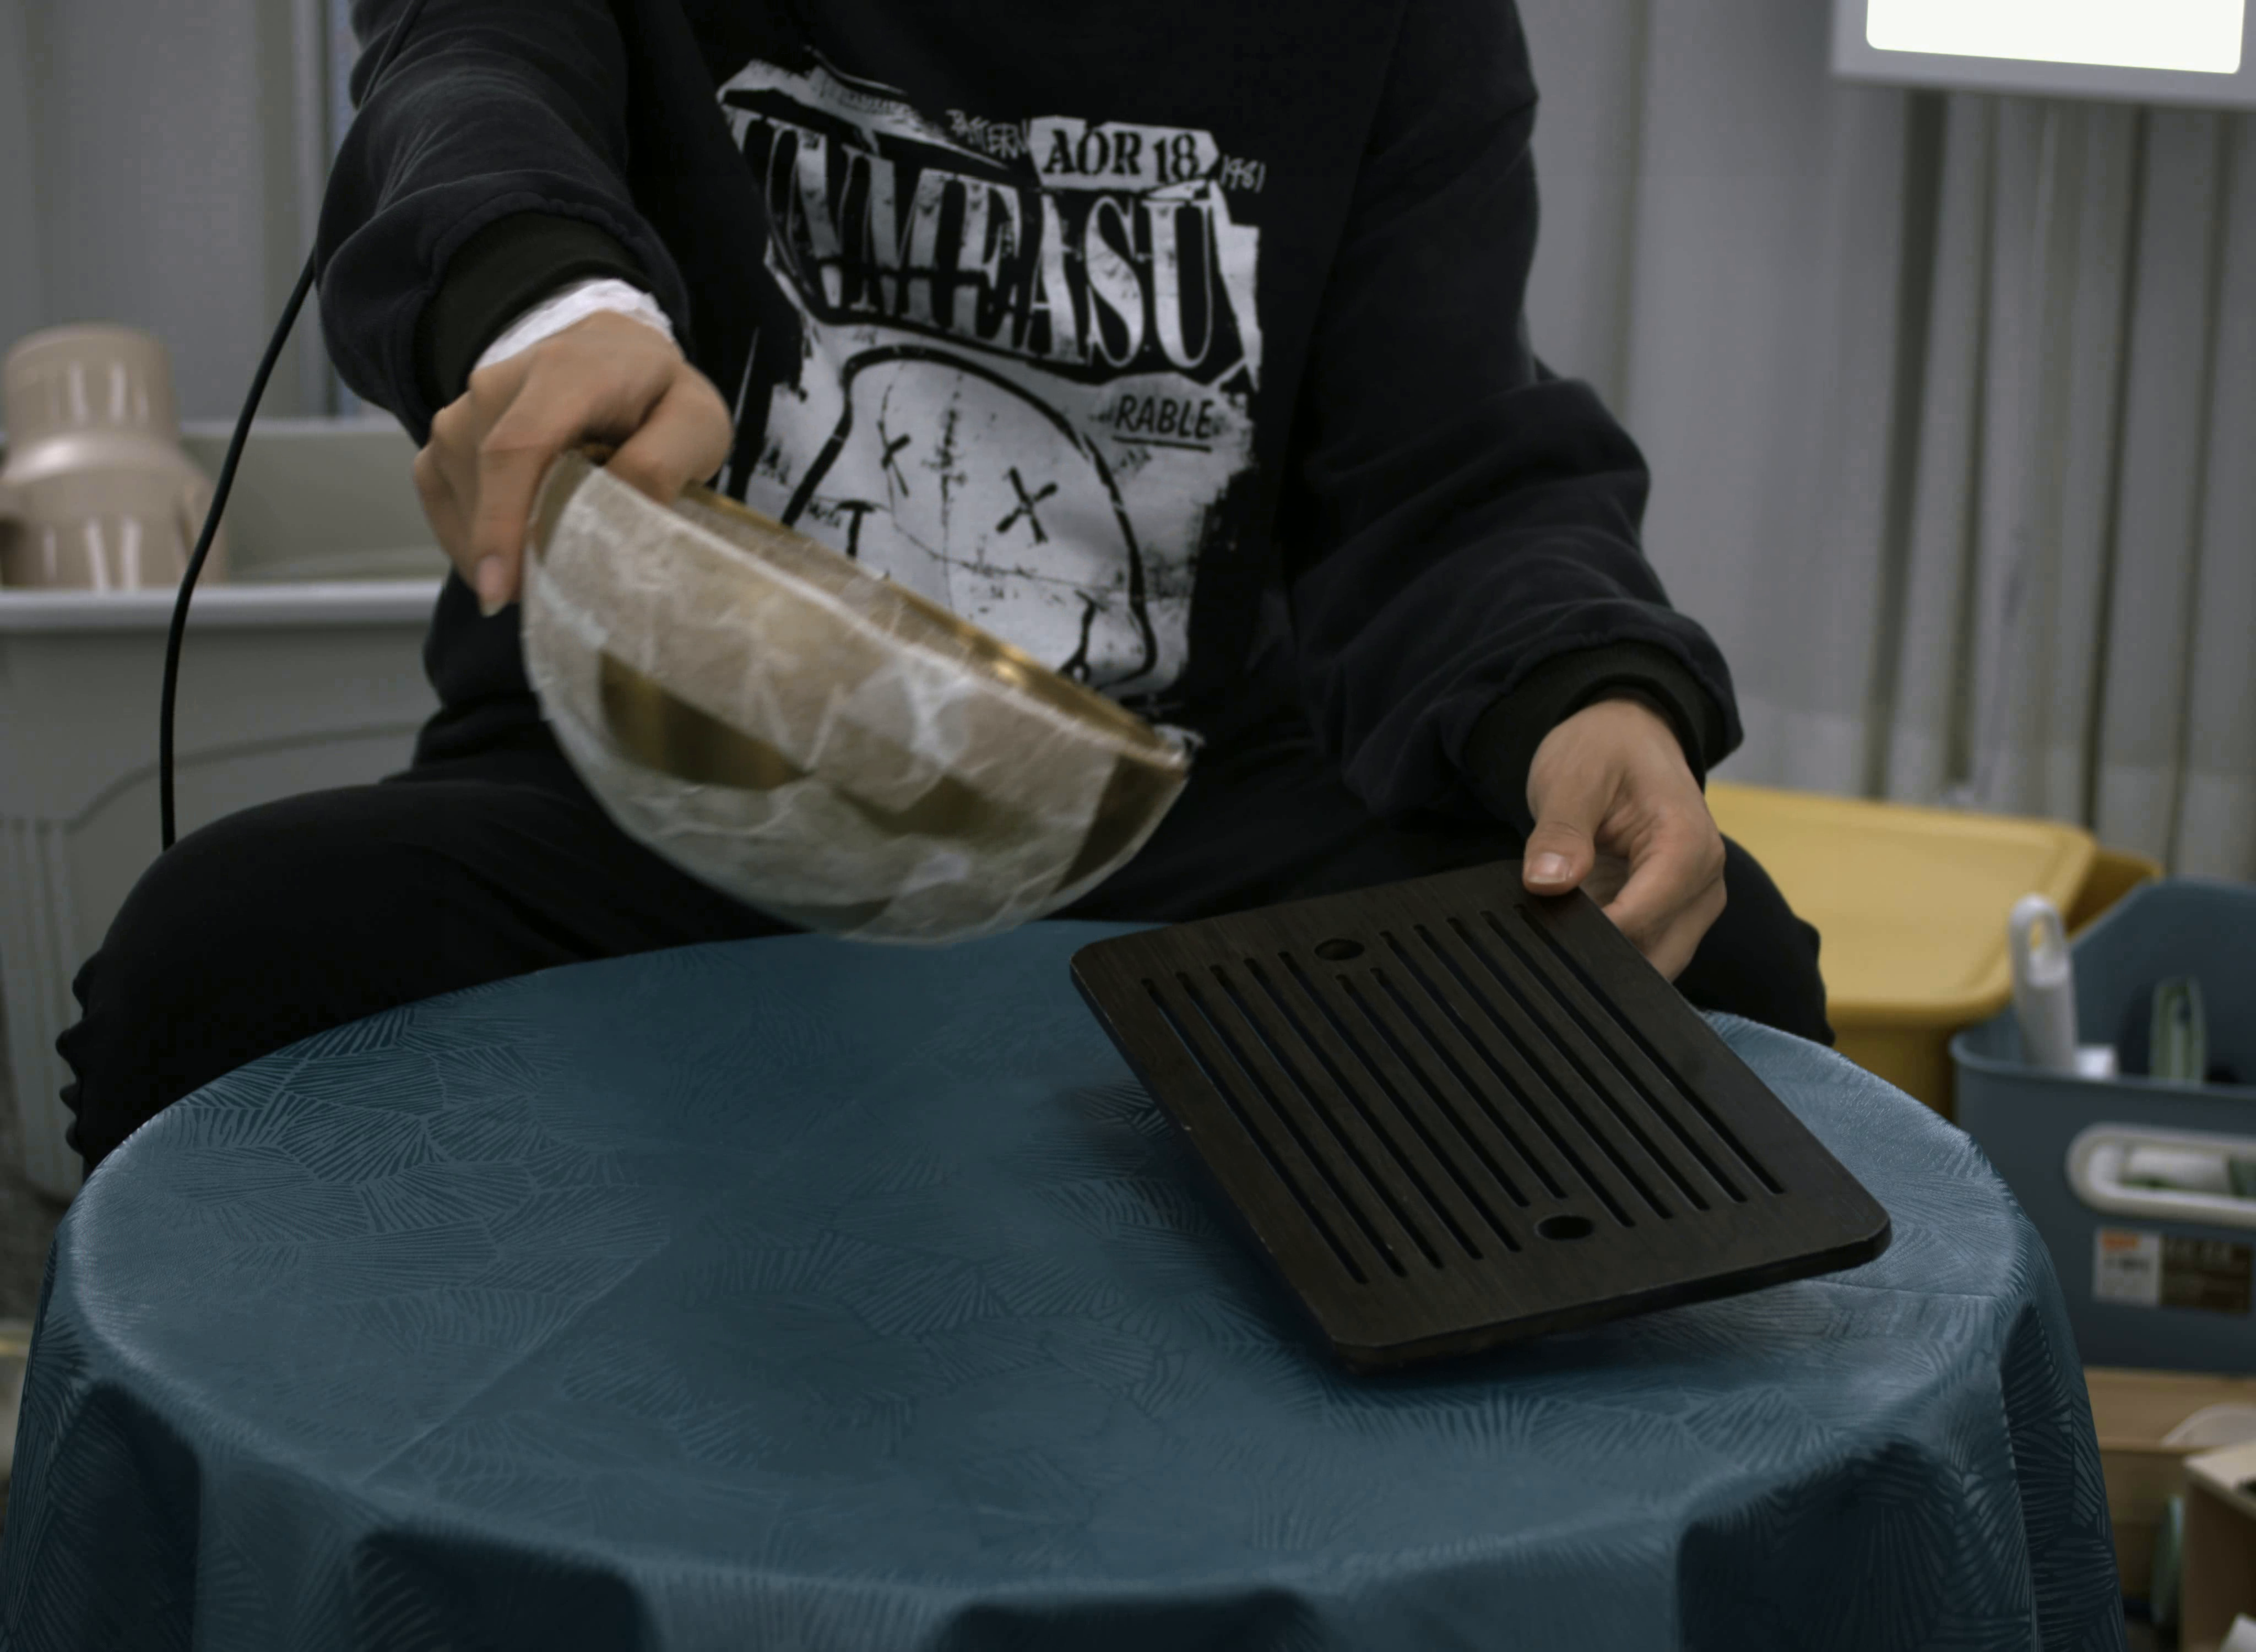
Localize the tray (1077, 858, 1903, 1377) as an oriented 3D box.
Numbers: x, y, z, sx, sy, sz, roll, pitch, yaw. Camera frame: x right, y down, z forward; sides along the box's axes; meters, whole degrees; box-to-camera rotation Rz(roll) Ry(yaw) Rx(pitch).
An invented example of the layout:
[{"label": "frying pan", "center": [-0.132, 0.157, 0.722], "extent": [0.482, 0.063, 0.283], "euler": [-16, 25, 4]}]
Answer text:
[{"label": "tray", "center": [0.103, 0.085, 1.614], "extent": [0.170, 0.019, 0.302], "euler": [-11, 24, -13]}]

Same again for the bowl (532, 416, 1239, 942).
[{"label": "bowl", "center": [-0.083, -0.026, 1.474], "extent": [0.214, 0.095, 0.214], "euler": [26, 5, -2]}]
